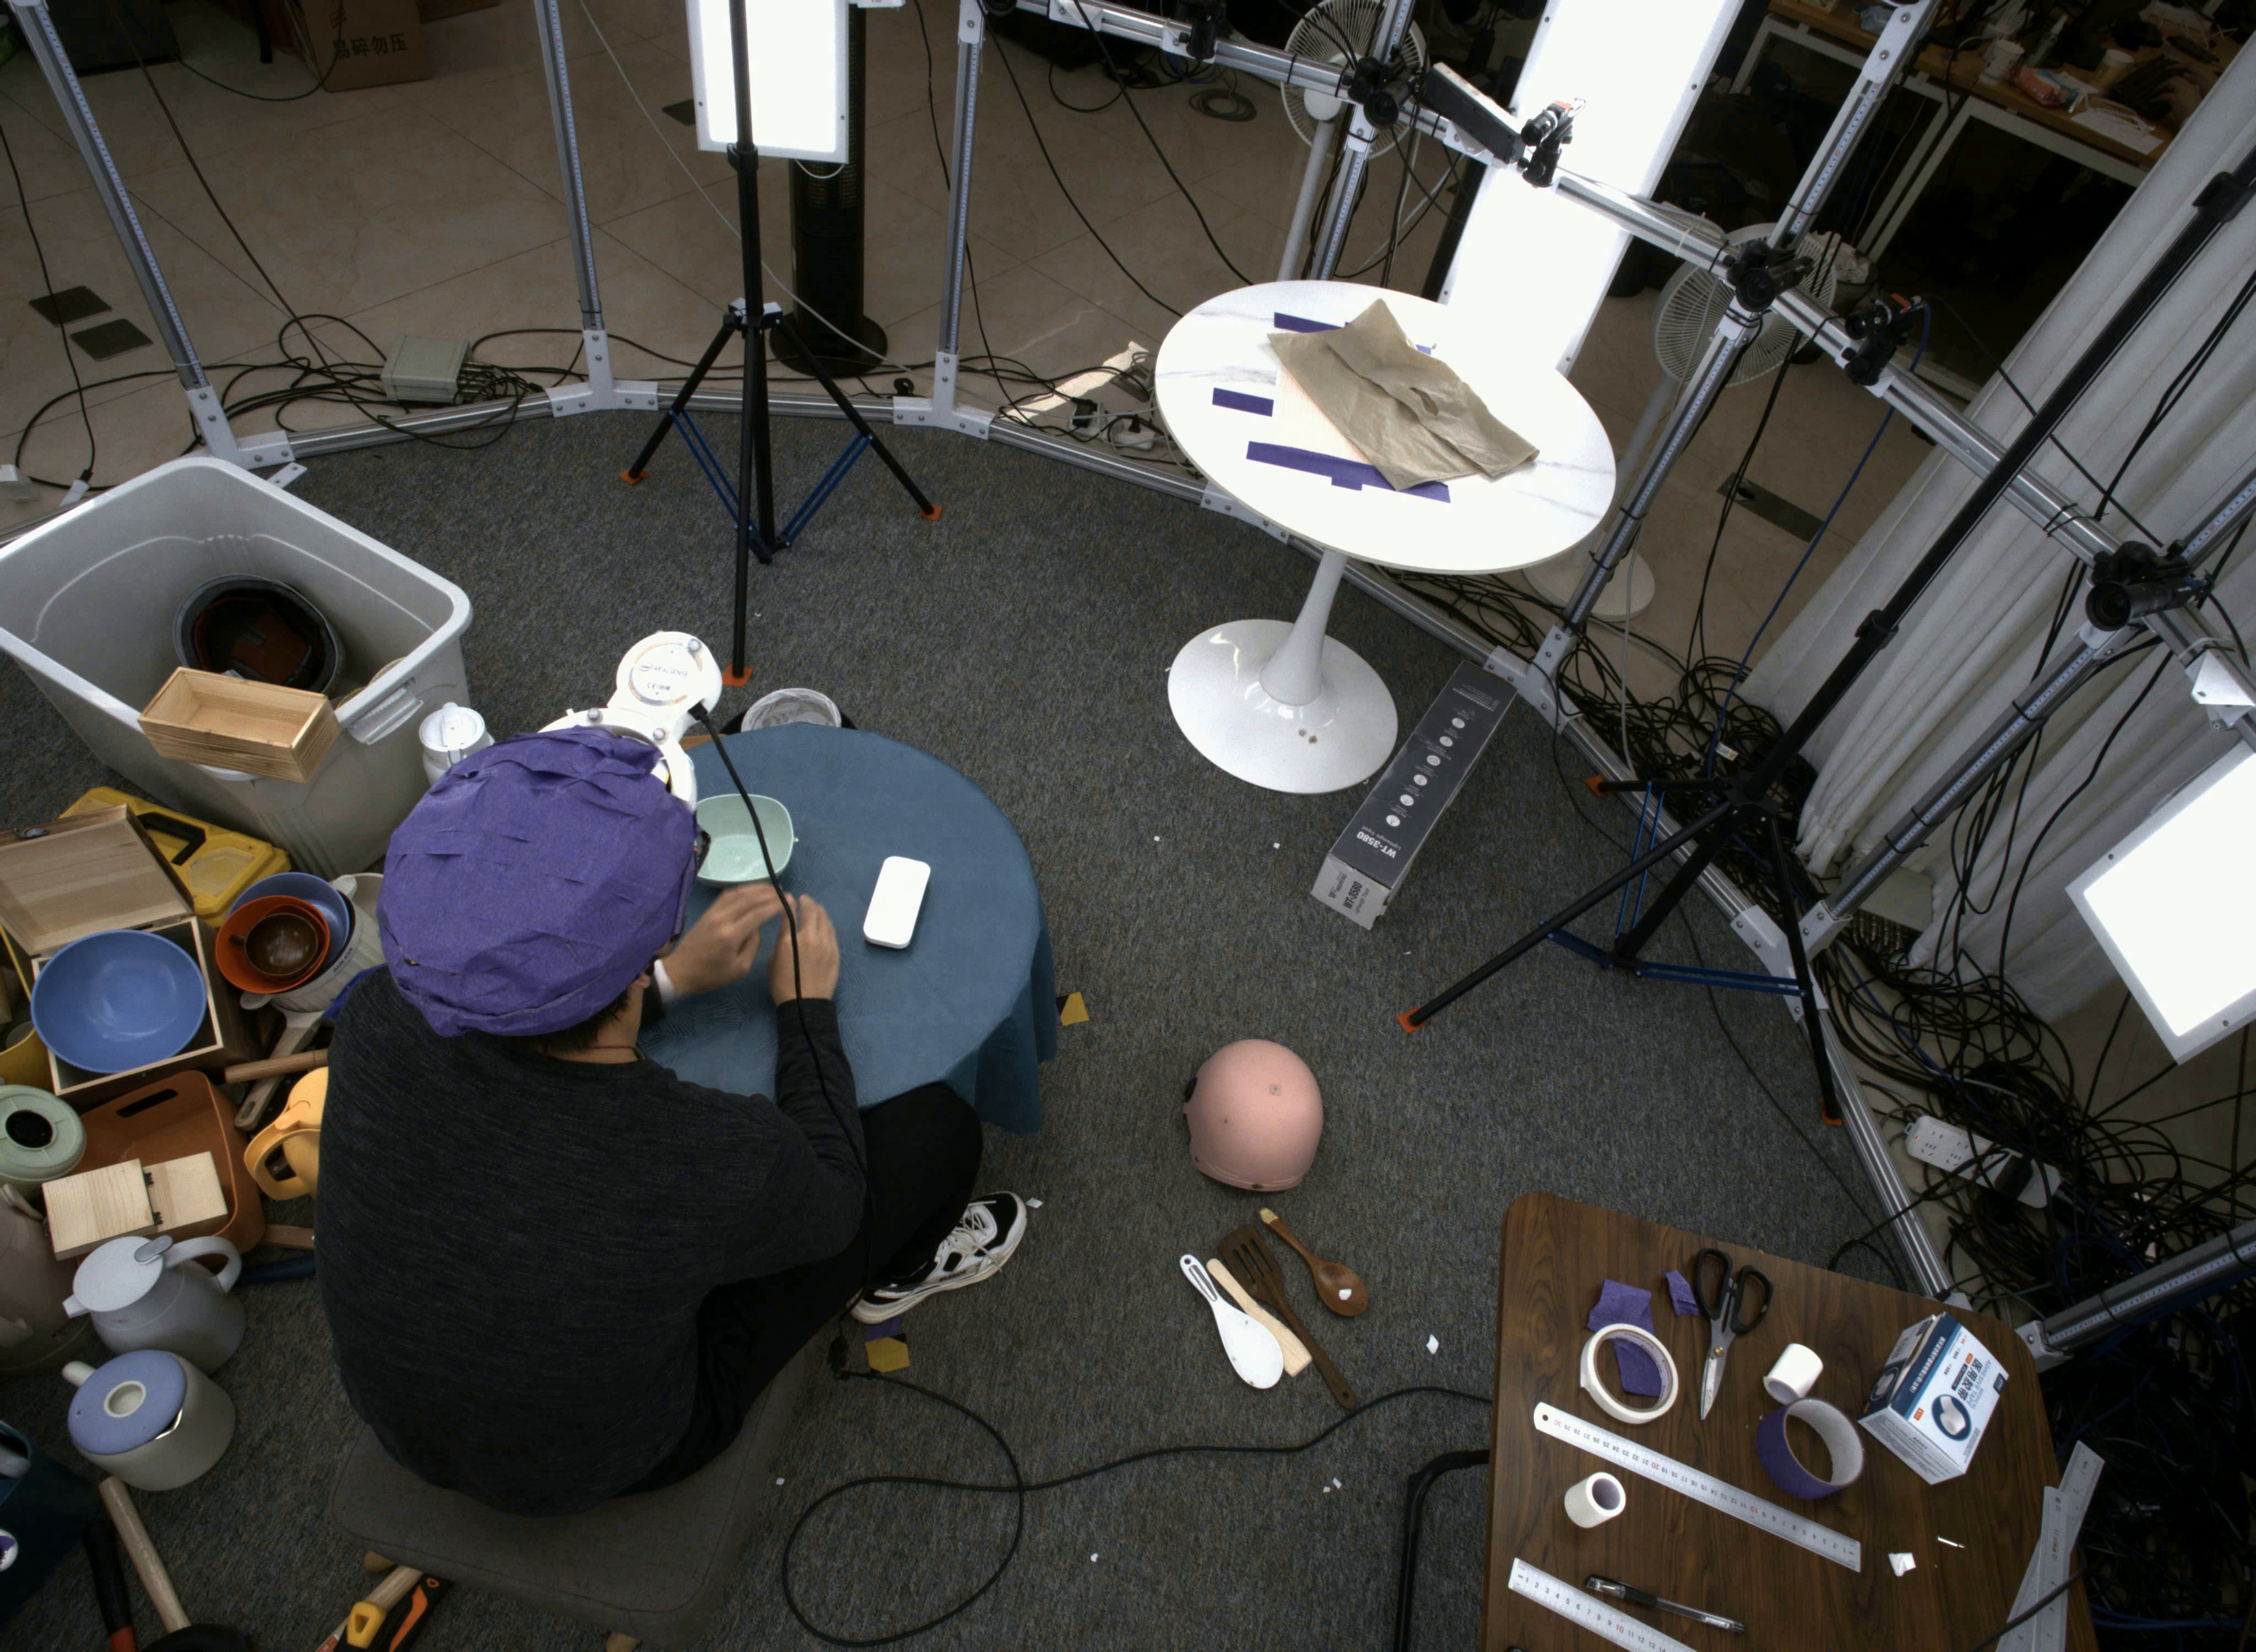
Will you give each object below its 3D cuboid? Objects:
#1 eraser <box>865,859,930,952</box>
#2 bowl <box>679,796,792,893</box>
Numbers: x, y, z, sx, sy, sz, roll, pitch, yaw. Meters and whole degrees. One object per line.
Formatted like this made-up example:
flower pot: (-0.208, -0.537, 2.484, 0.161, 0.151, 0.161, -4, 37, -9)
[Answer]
eraser: (-0.295, 0.097, 1.660, 0.063, 0.035, 0.129, 11, 50, -3)
bowl: (-0.496, 0.031, 1.641, 0.151, 0.060, 0.148, 8, 50, -8)
